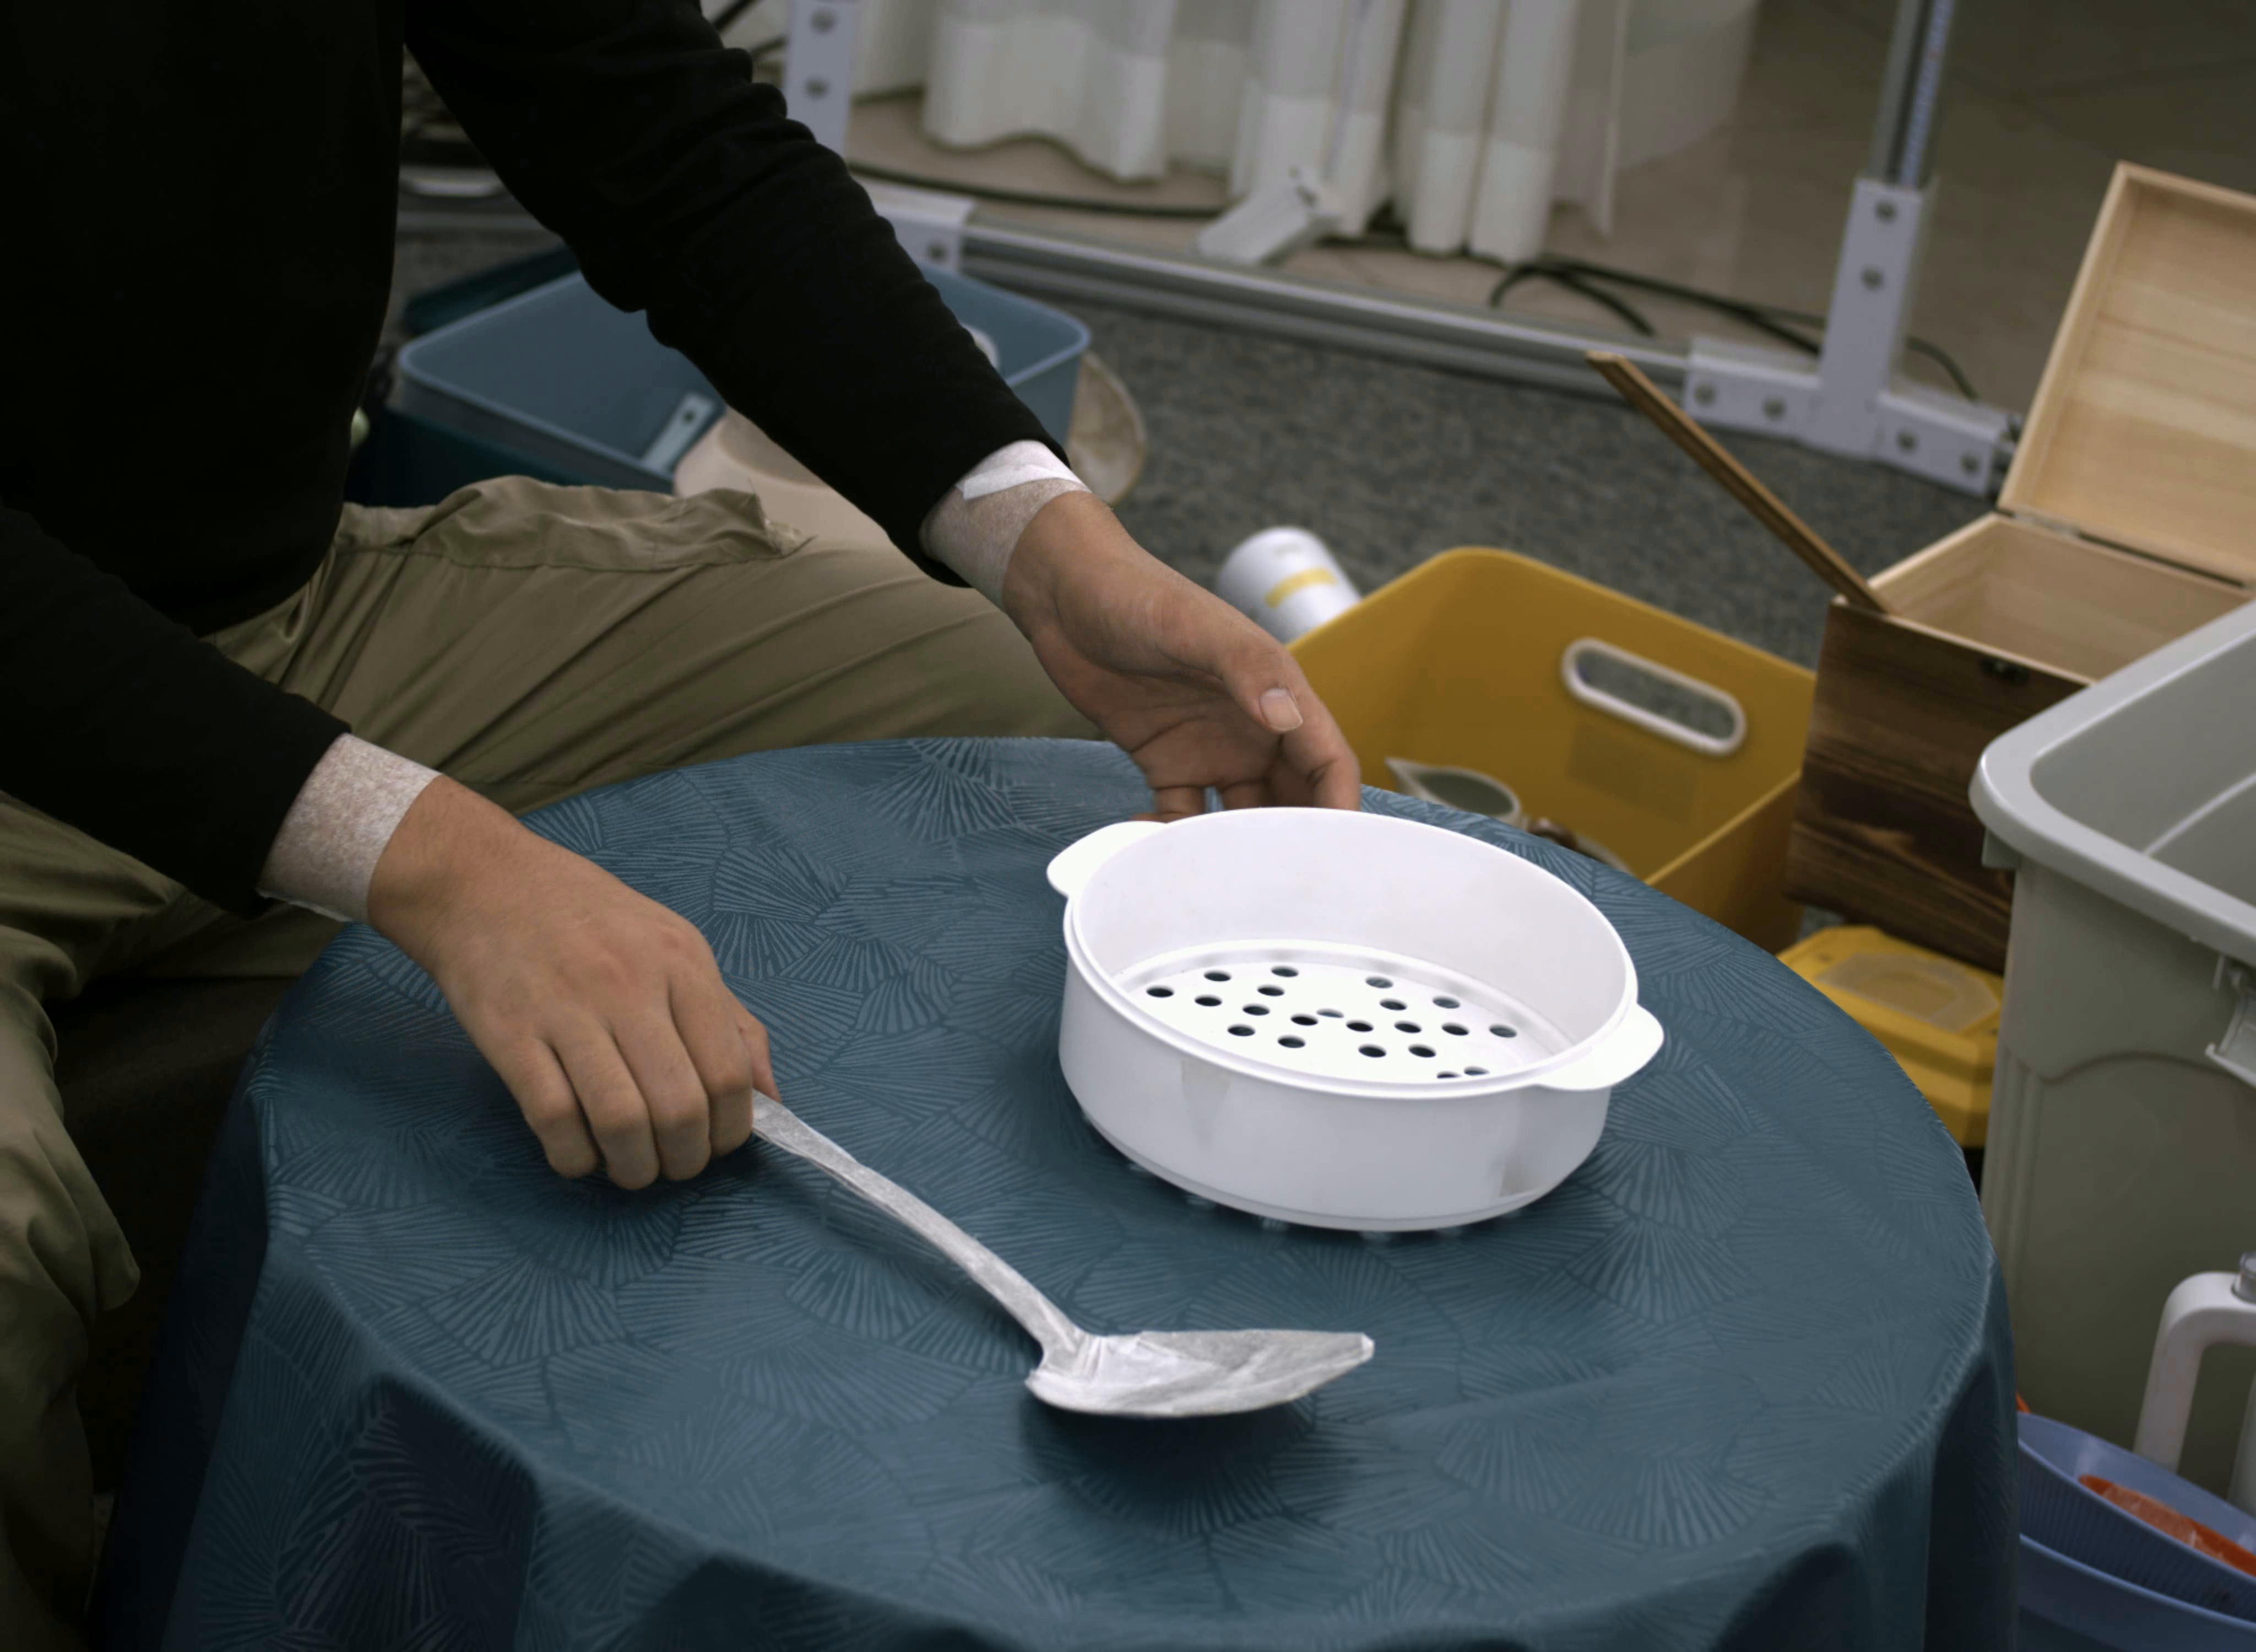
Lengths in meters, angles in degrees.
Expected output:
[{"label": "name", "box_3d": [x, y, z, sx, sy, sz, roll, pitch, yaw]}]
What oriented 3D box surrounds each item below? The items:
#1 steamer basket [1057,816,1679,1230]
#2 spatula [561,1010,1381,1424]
[{"label": "steamer basket", "box_3d": [0.078, 0.069, 1.850, 0.232, 0.069, 0.201, 21, 29, 28]}, {"label": "spatula", "box_3d": [-0.073, 0.121, 1.750, 0.098, 0.044, 0.368, -18, 36, -42]}]
